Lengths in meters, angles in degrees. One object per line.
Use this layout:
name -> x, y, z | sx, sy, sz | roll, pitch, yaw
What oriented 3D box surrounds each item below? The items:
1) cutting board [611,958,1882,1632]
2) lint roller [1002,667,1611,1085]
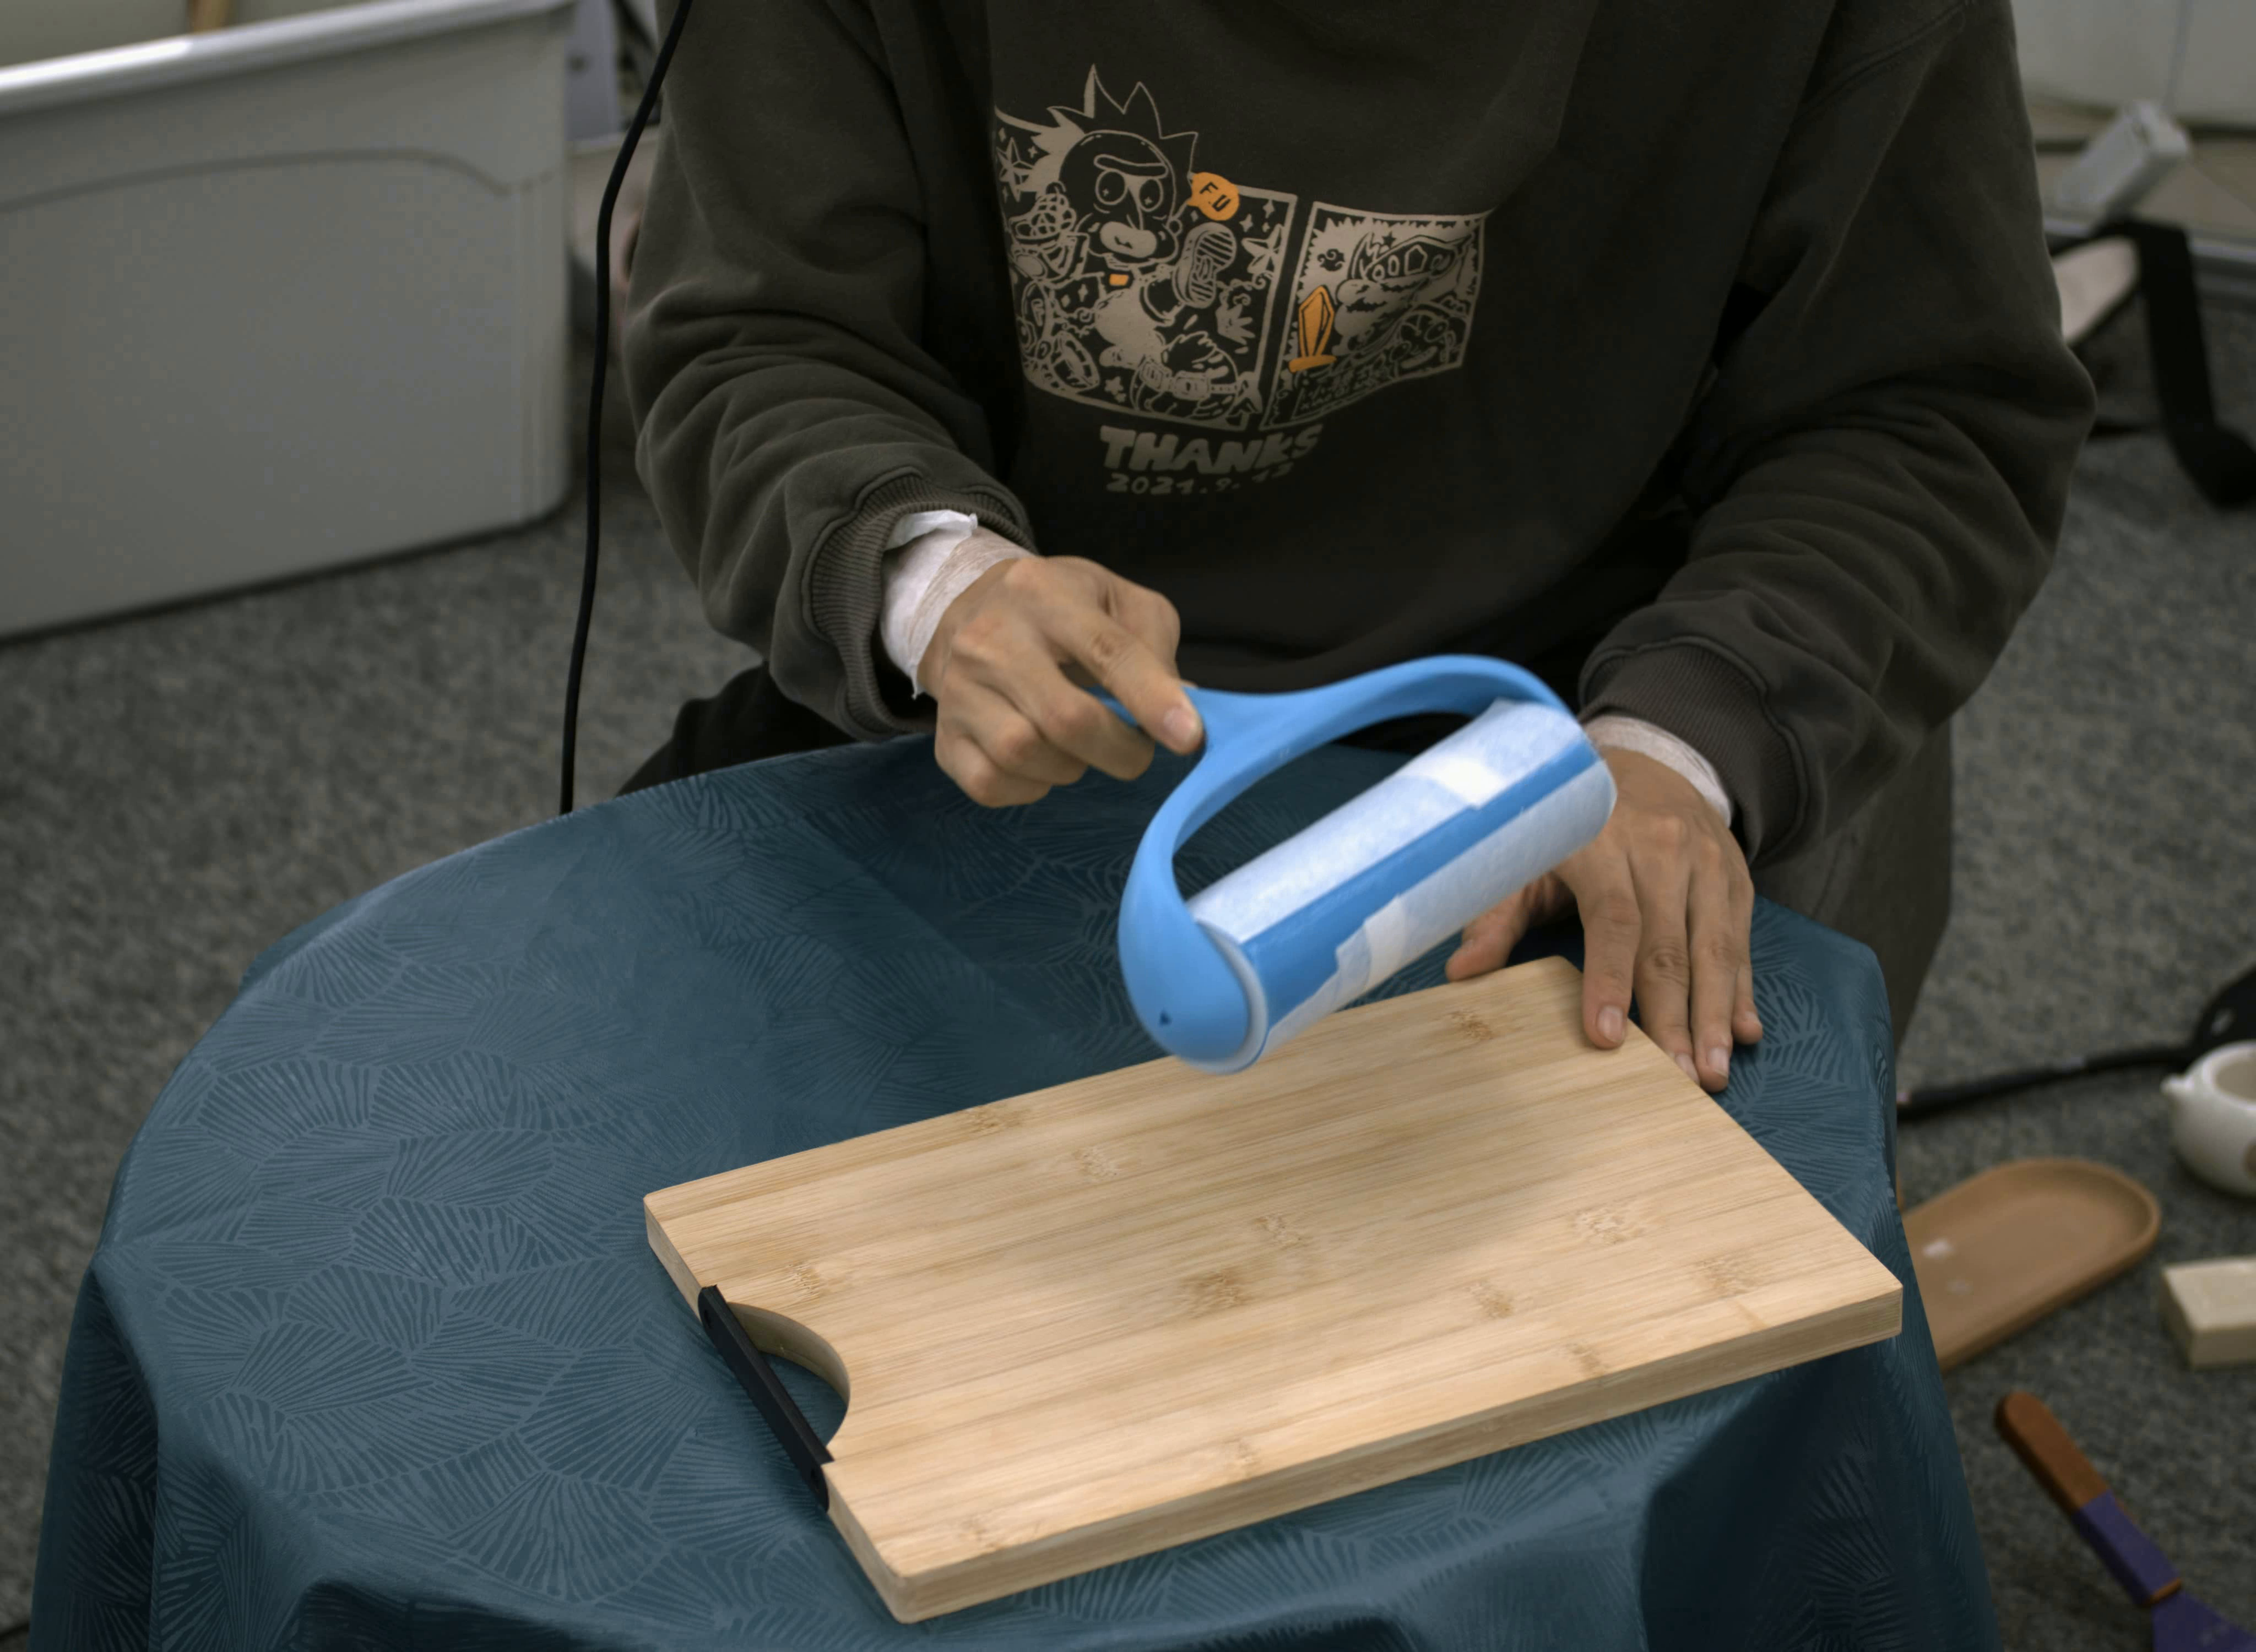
cutting board -> 0.036, 0.143, 1.800 | 0.350, 0.023, 0.252 | -14, 29, -20
lint roller -> 0.033, -0.008, 1.820 | 0.180, 0.067, 0.232 | 30, 39, 24
